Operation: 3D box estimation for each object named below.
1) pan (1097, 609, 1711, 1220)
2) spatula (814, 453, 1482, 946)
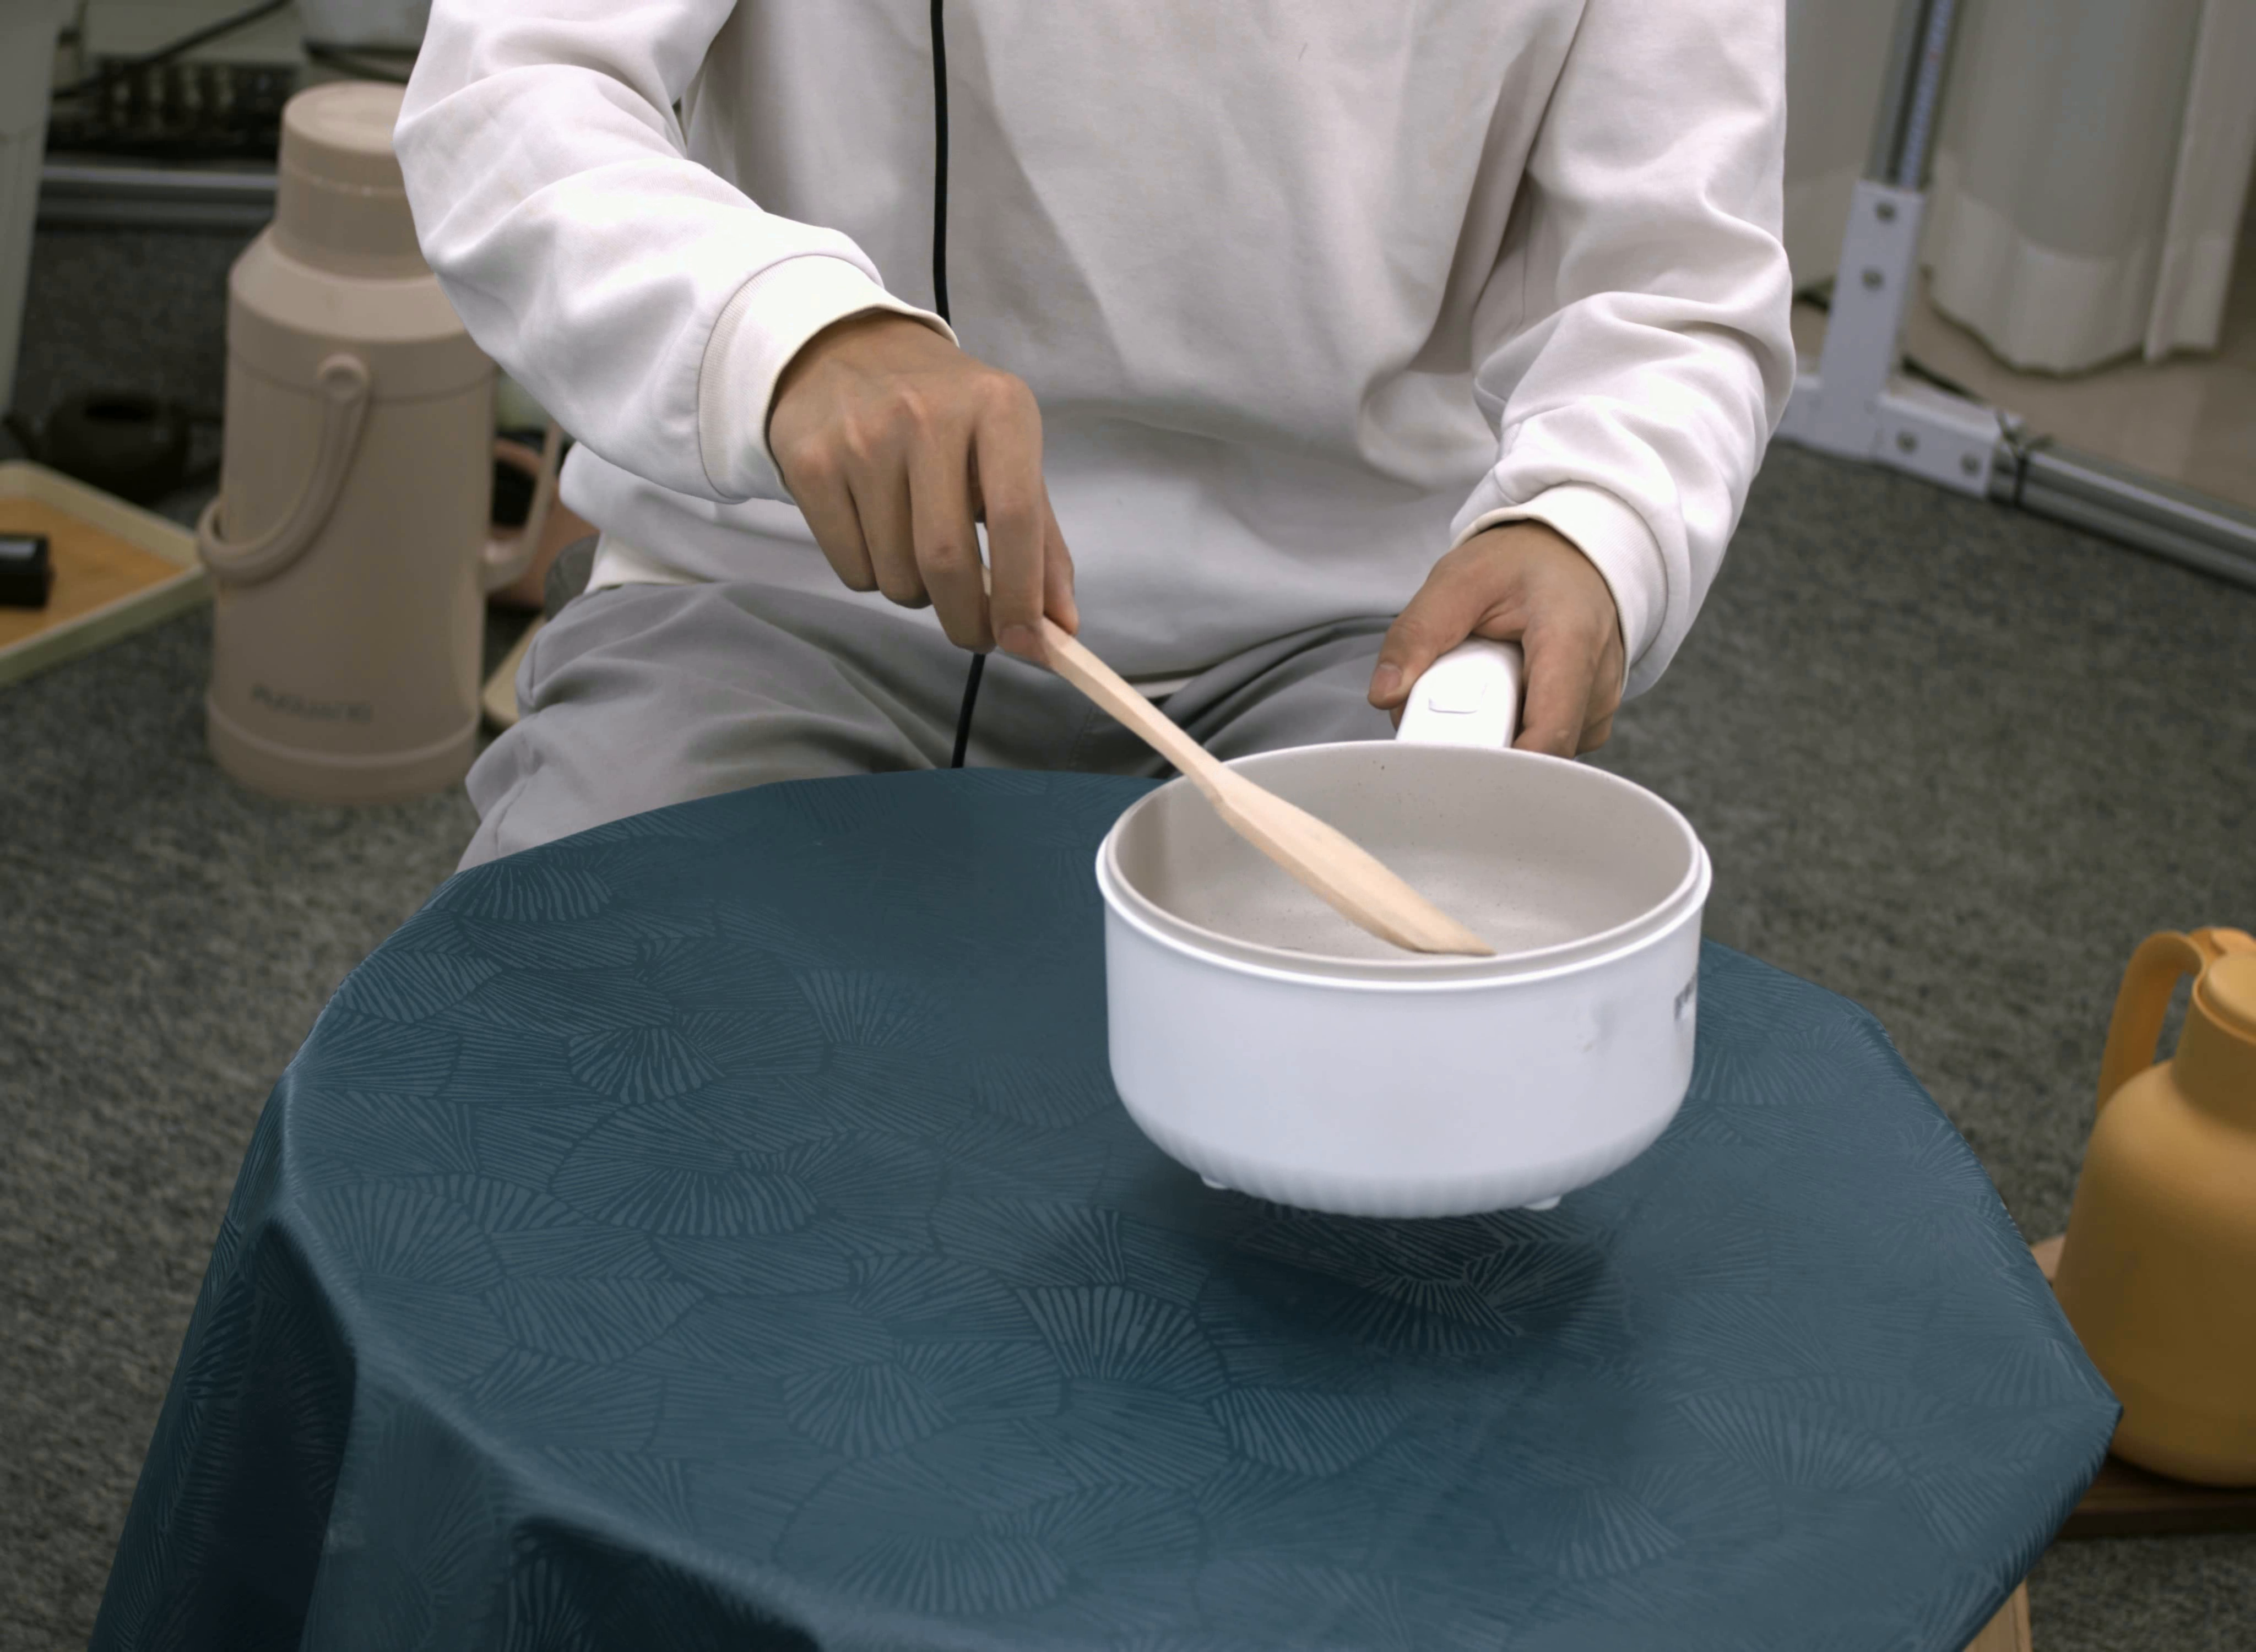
[{"bbox_3d":[0.104,0.026,1.828,0.201,0.102,0.356,2,21,10],"label":"pan"},{"bbox_3d":[-0.002,-0.042,1.782,0.295,0.010,0.072,39,15,24],"label":"spatula"}]
